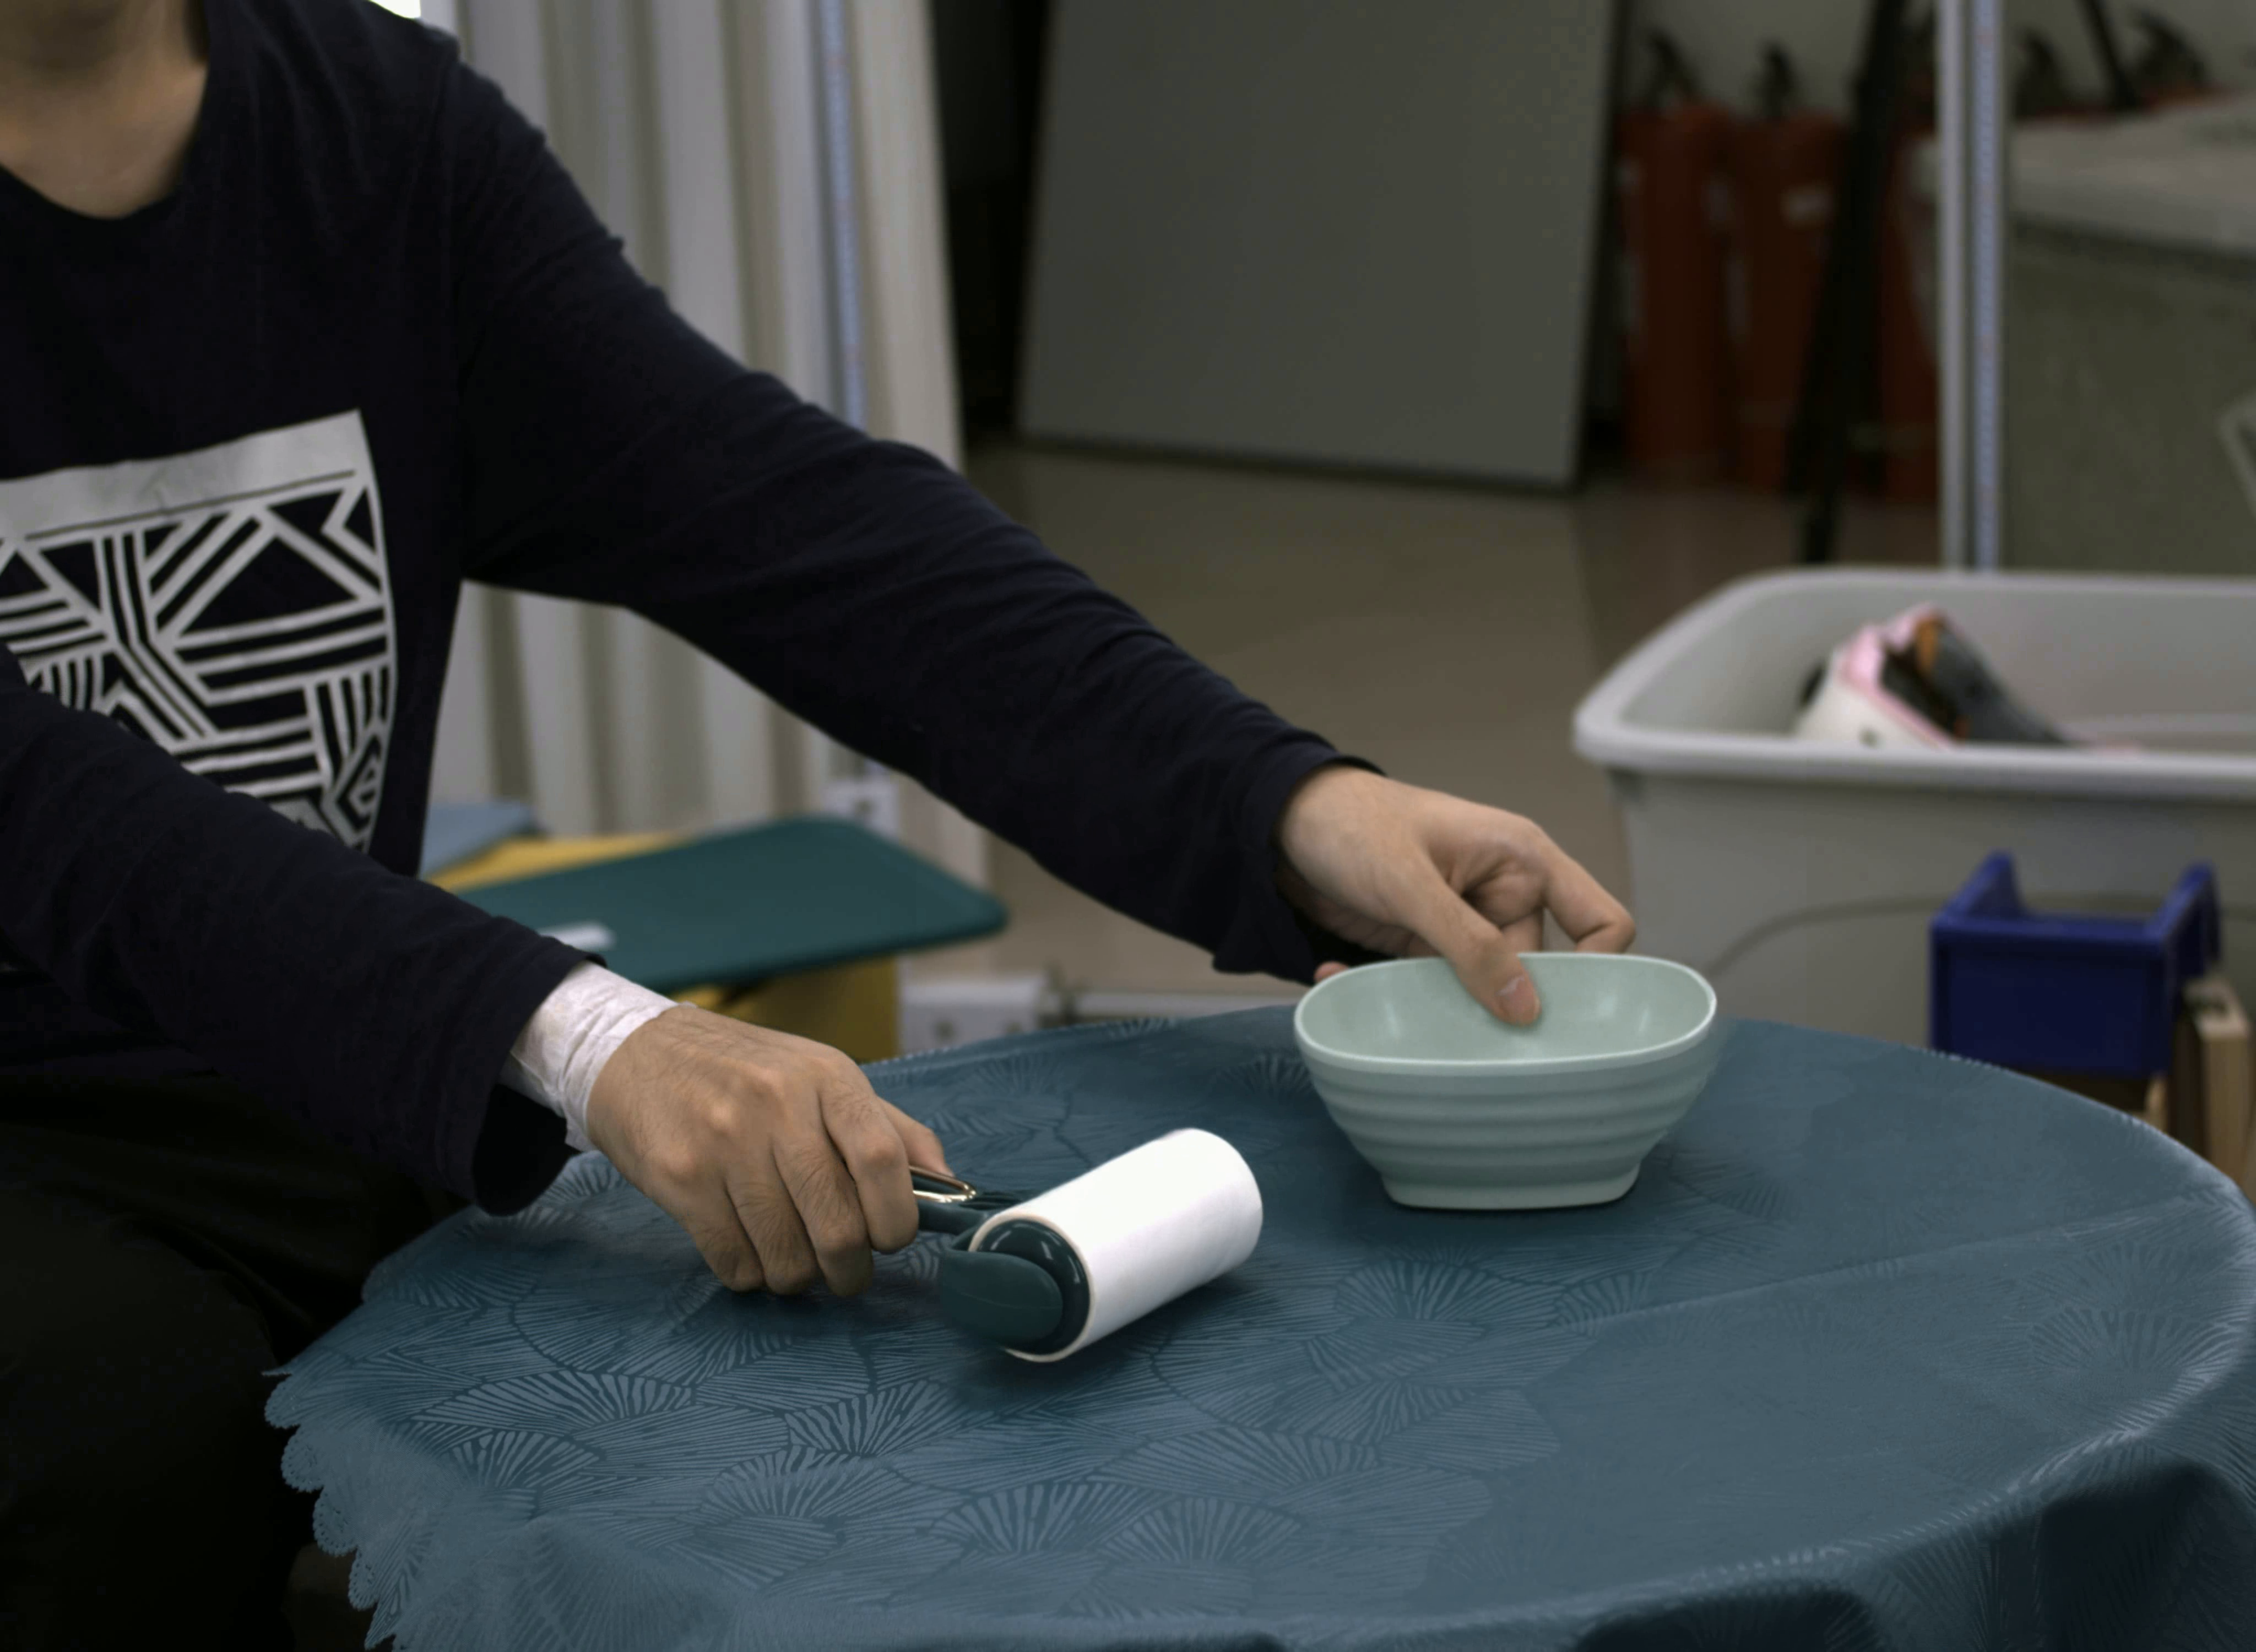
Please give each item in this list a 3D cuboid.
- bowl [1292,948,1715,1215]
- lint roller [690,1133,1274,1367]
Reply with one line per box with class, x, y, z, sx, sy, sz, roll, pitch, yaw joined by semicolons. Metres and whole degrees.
bowl;0.123;0.086;1.759;0.149;0.059;0.152;-2;14;0
lint roller;-0.059;0.114;1.668;0.181;0.049;0.132;14;18;30
